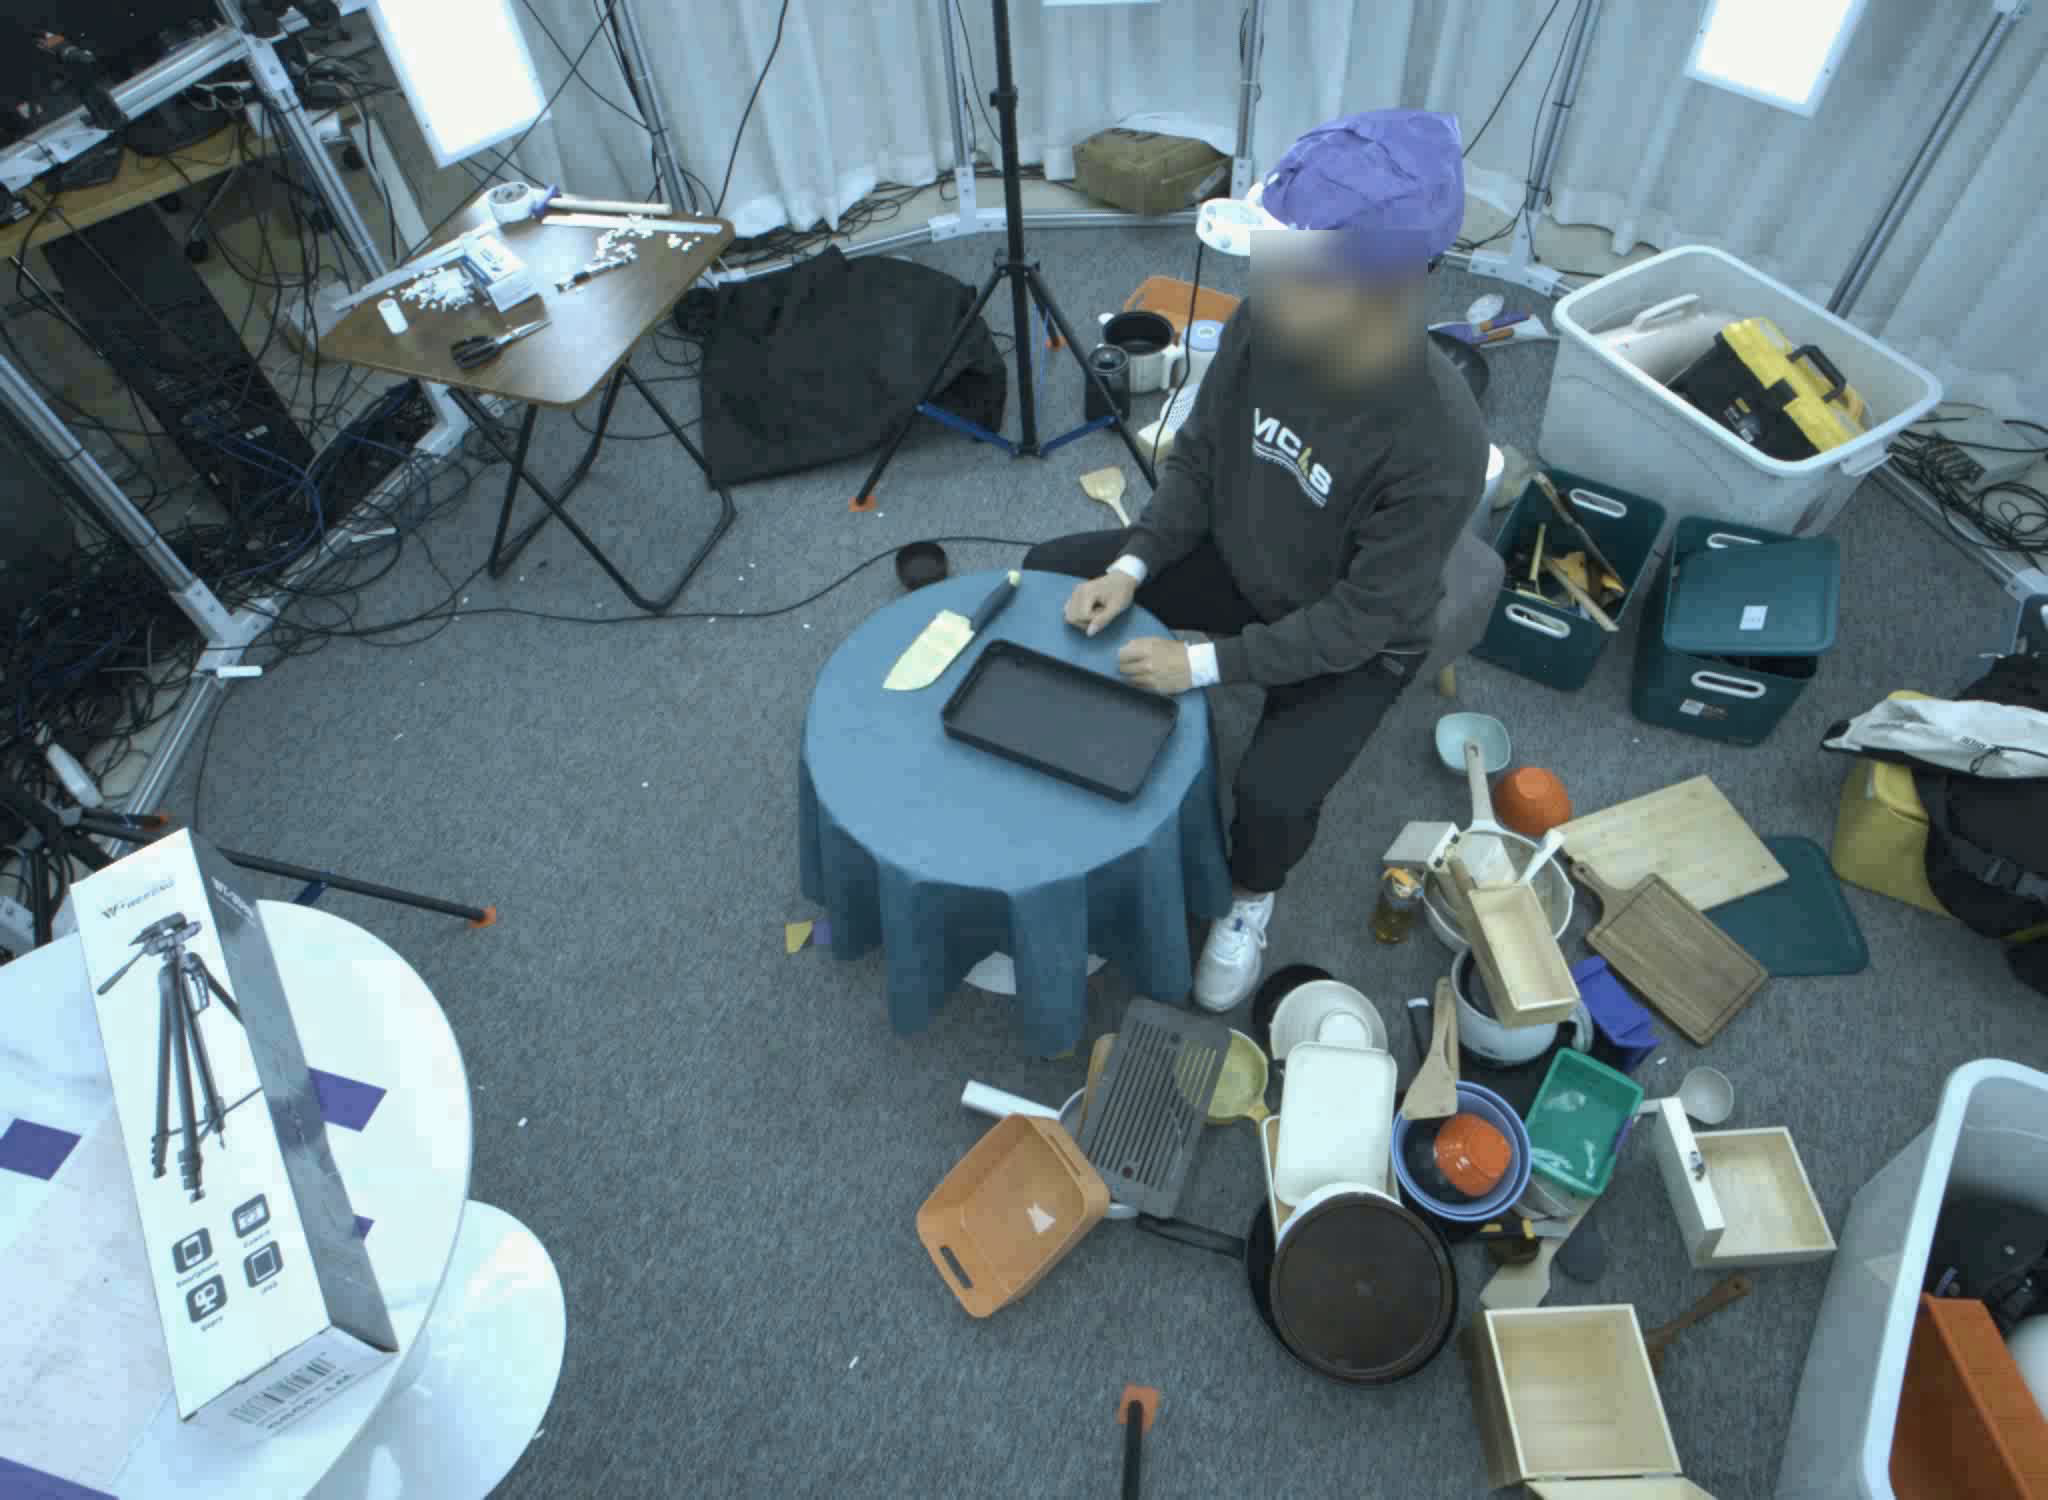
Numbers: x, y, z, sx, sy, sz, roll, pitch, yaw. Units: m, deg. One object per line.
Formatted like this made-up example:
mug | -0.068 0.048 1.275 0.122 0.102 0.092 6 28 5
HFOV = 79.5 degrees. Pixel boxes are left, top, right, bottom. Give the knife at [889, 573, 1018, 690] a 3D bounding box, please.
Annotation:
knife | -0.111 -0.189 1.924 0.080 0.027 0.291 32 62 20

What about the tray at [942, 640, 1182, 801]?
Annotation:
tray | 0.056 -0.047 1.805 0.314 0.037 0.184 19 56 15
